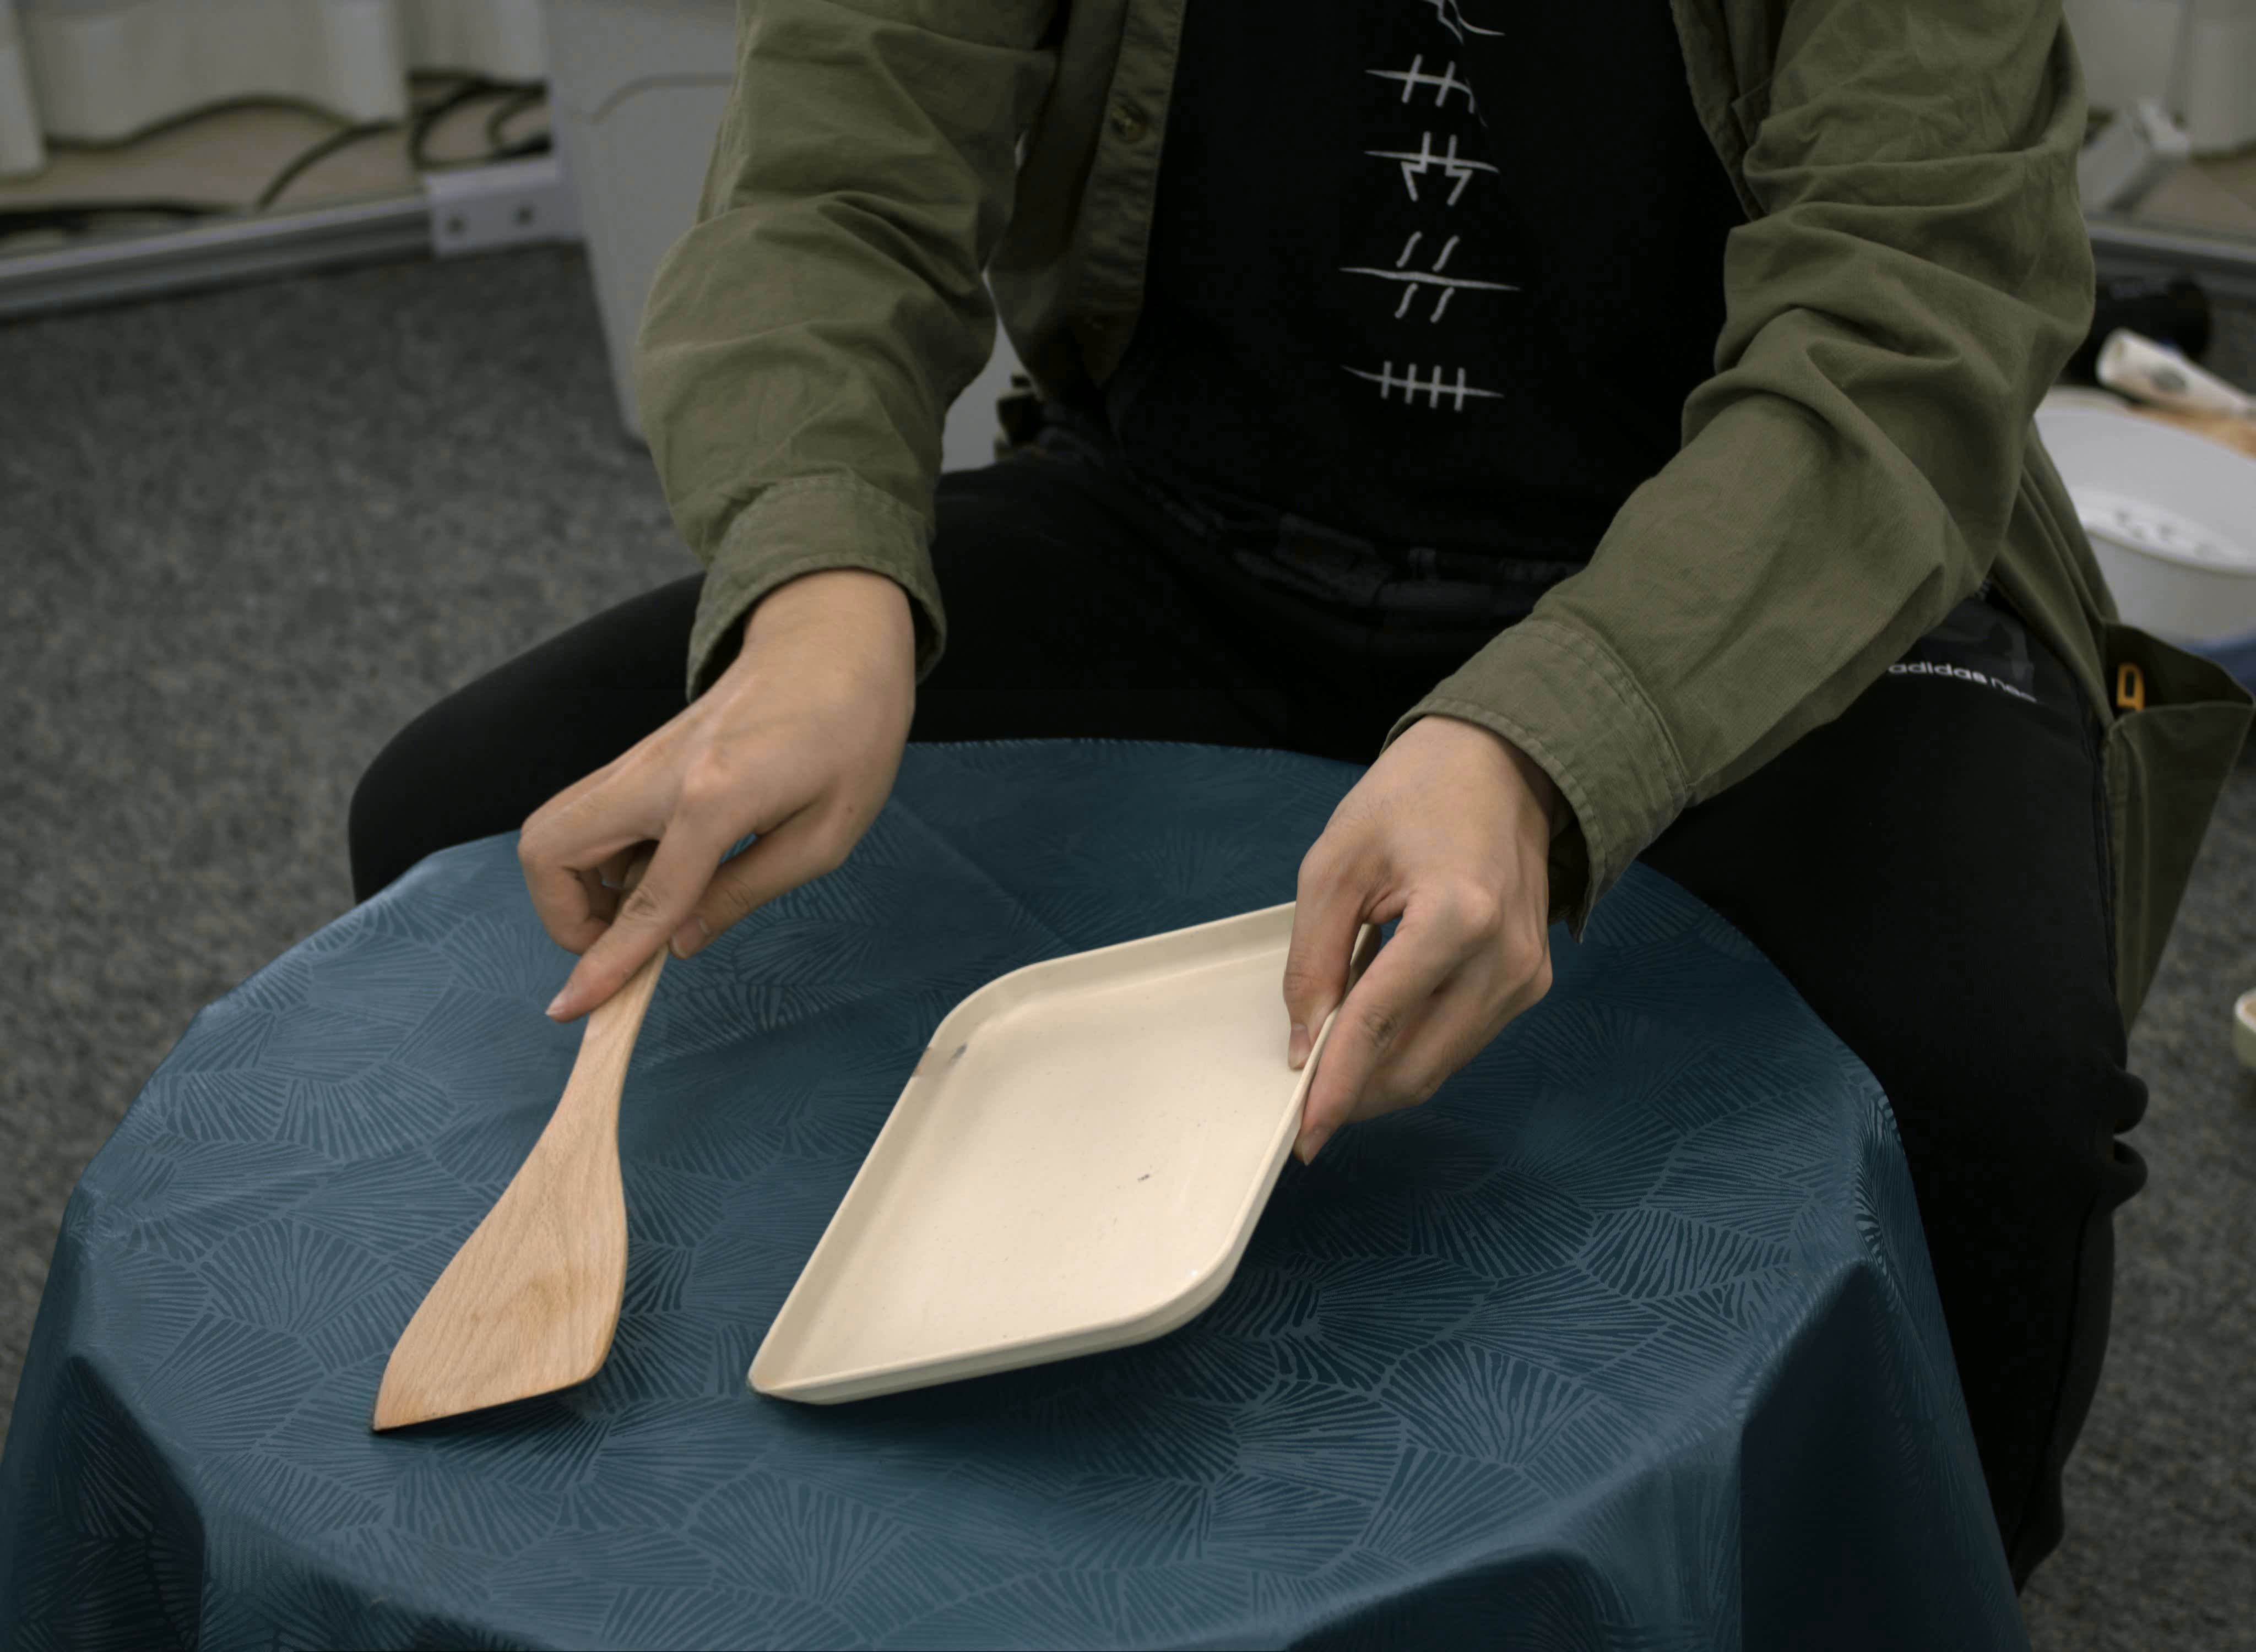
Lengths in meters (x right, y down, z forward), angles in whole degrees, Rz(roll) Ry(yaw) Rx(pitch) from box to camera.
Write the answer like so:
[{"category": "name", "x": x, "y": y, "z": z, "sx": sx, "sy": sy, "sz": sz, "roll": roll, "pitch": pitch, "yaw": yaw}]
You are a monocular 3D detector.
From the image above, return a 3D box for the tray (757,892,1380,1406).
[{"category": "tray", "x": -0.015, "y": 0.104, "z": 1.805, "sx": 0.169, "sy": 0.017, "sz": 0.244, "roll": -14, "pitch": 26, "yaw": 26}]

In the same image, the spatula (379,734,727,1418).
[{"category": "spatula", "x": -0.175, "y": 0.076, "z": 1.866, "sx": 0.079, "sy": 0.016, "sz": 0.334, "roll": -9, "pitch": 39, "yaw": 18}]
